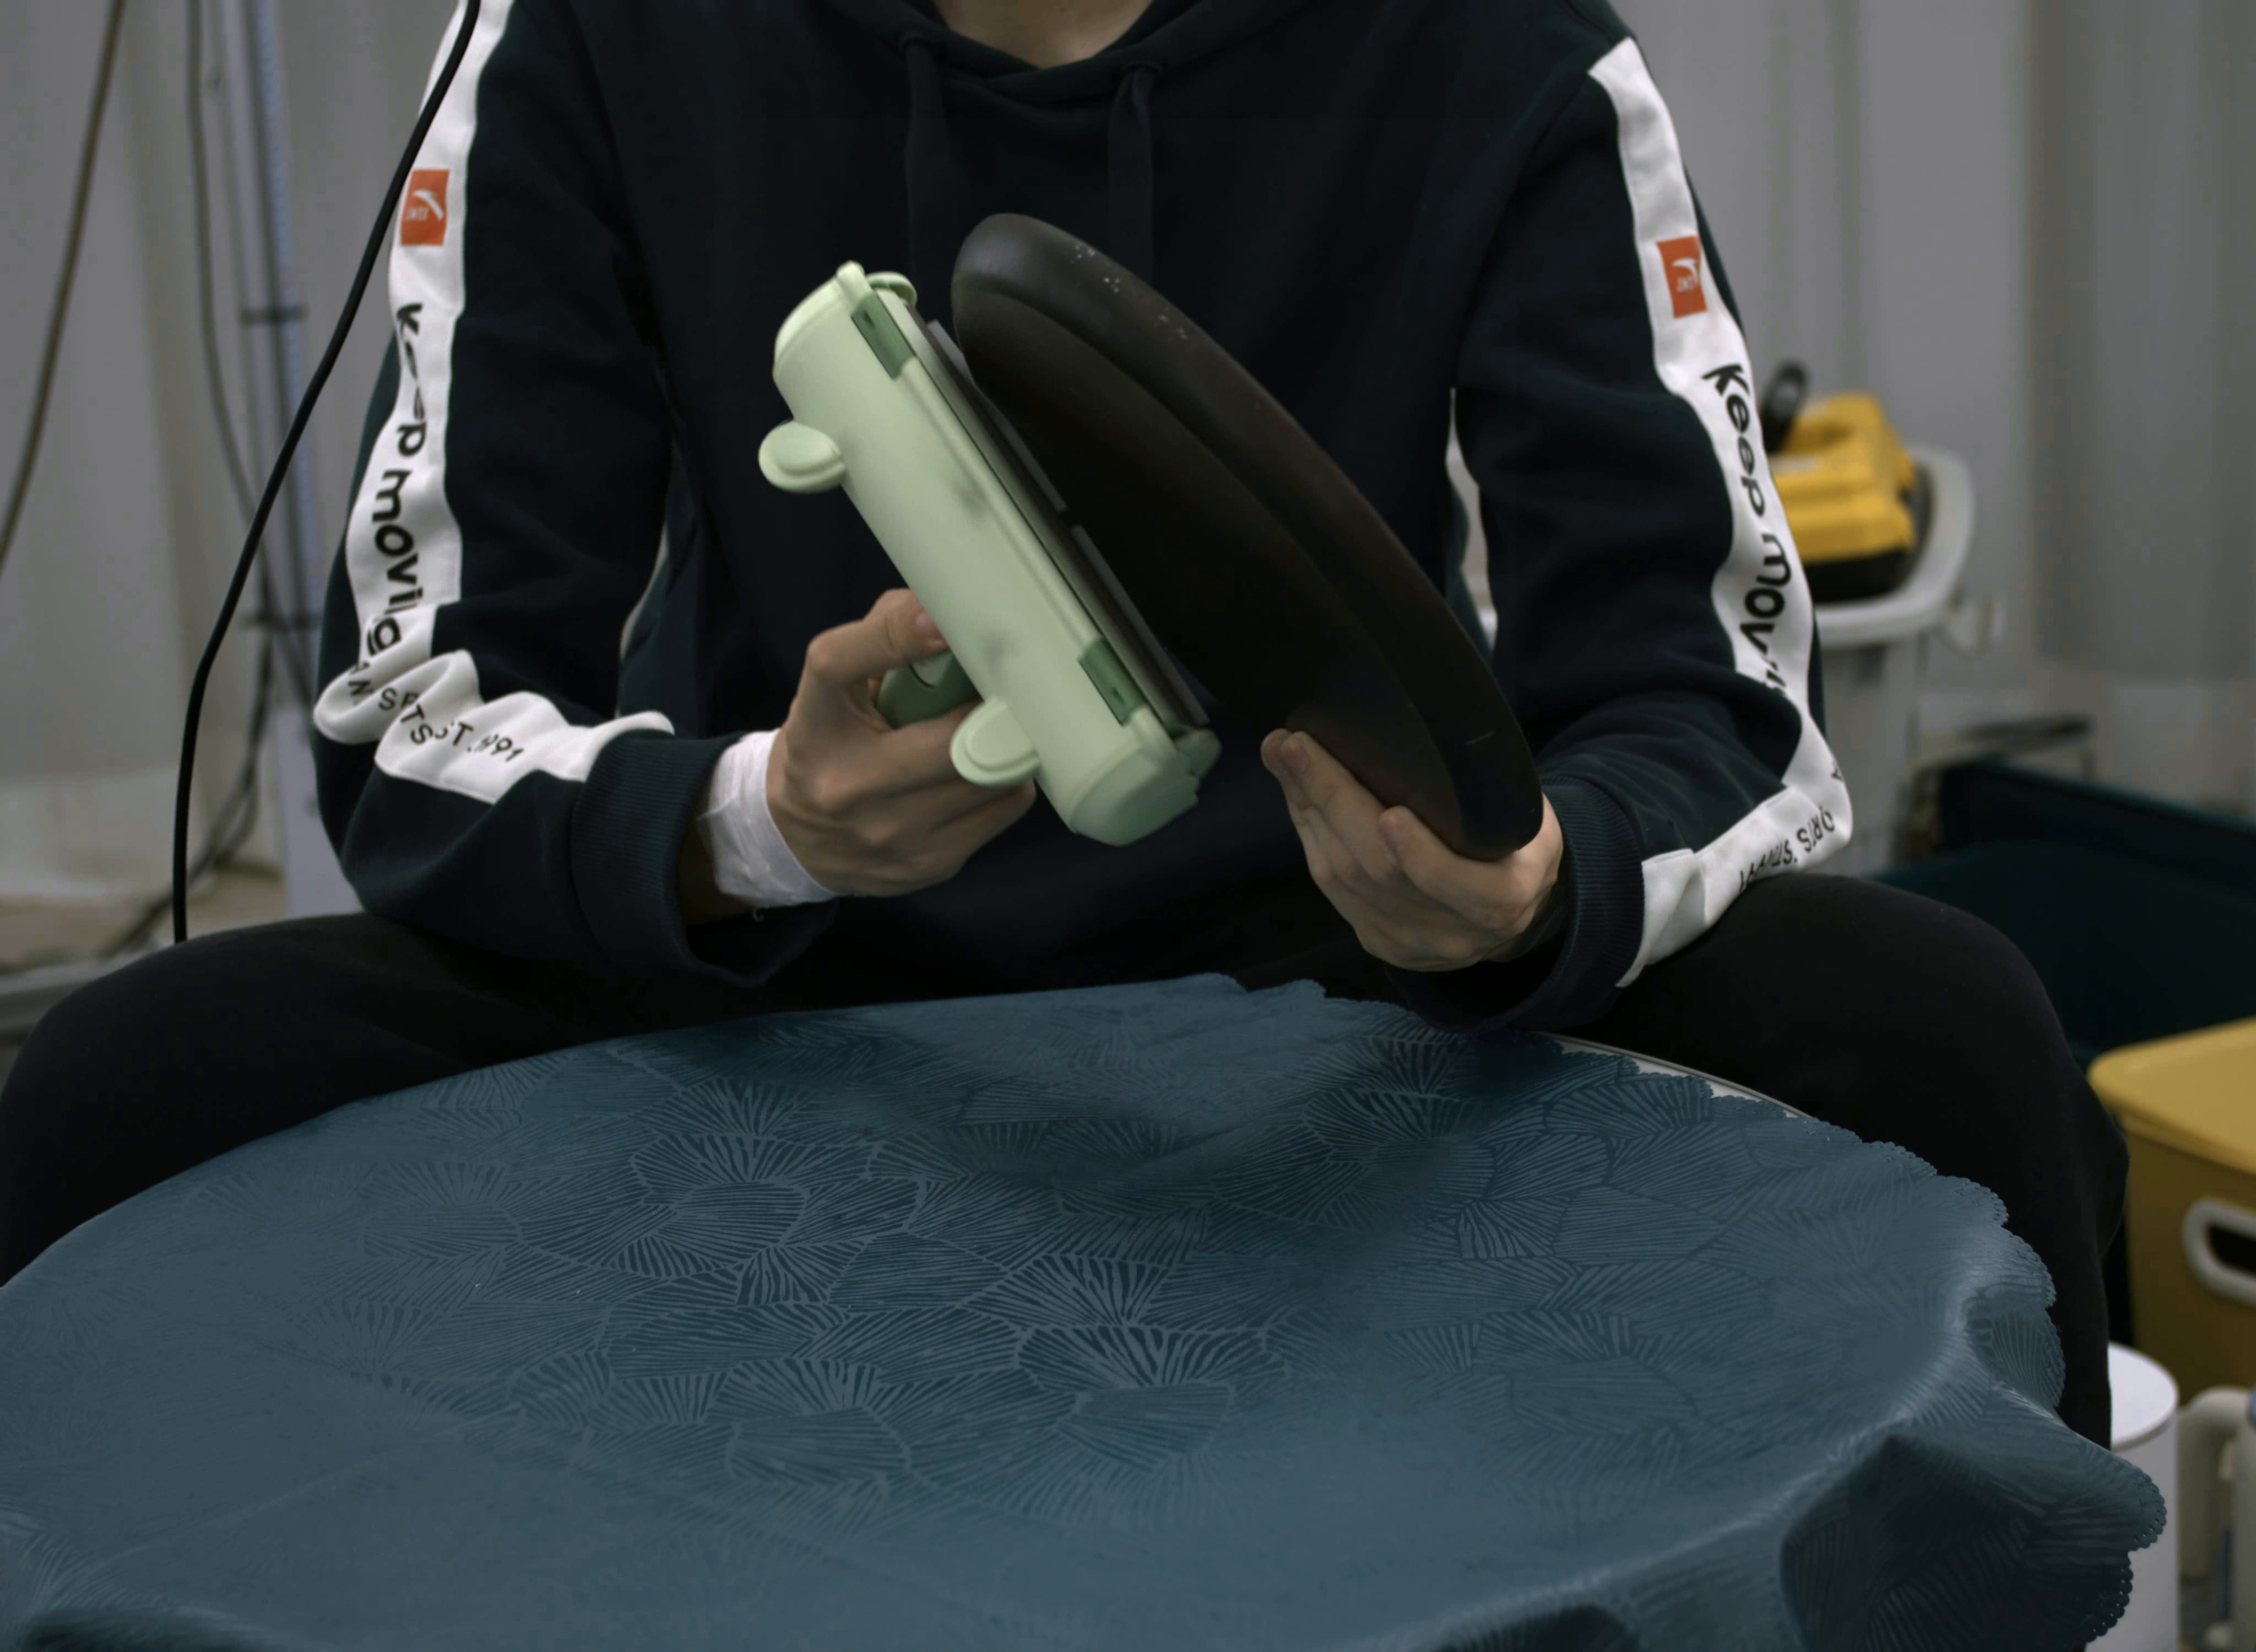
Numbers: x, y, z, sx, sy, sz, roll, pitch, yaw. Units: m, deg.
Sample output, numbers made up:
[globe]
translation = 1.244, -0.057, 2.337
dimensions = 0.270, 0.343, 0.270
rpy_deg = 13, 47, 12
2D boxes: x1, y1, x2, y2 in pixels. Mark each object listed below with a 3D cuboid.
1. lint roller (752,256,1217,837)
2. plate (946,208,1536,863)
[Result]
[lint roller]
translation = -0.068, -0.055, 1.737
dimensions = 0.082, 0.200, 0.181
rpy_deg = -21, -23, -33
[plate]
translation = 0.031, -0.084, 1.664
dimensions = 0.029, 0.252, 0.257
rpy_deg = -43, 26, -10
